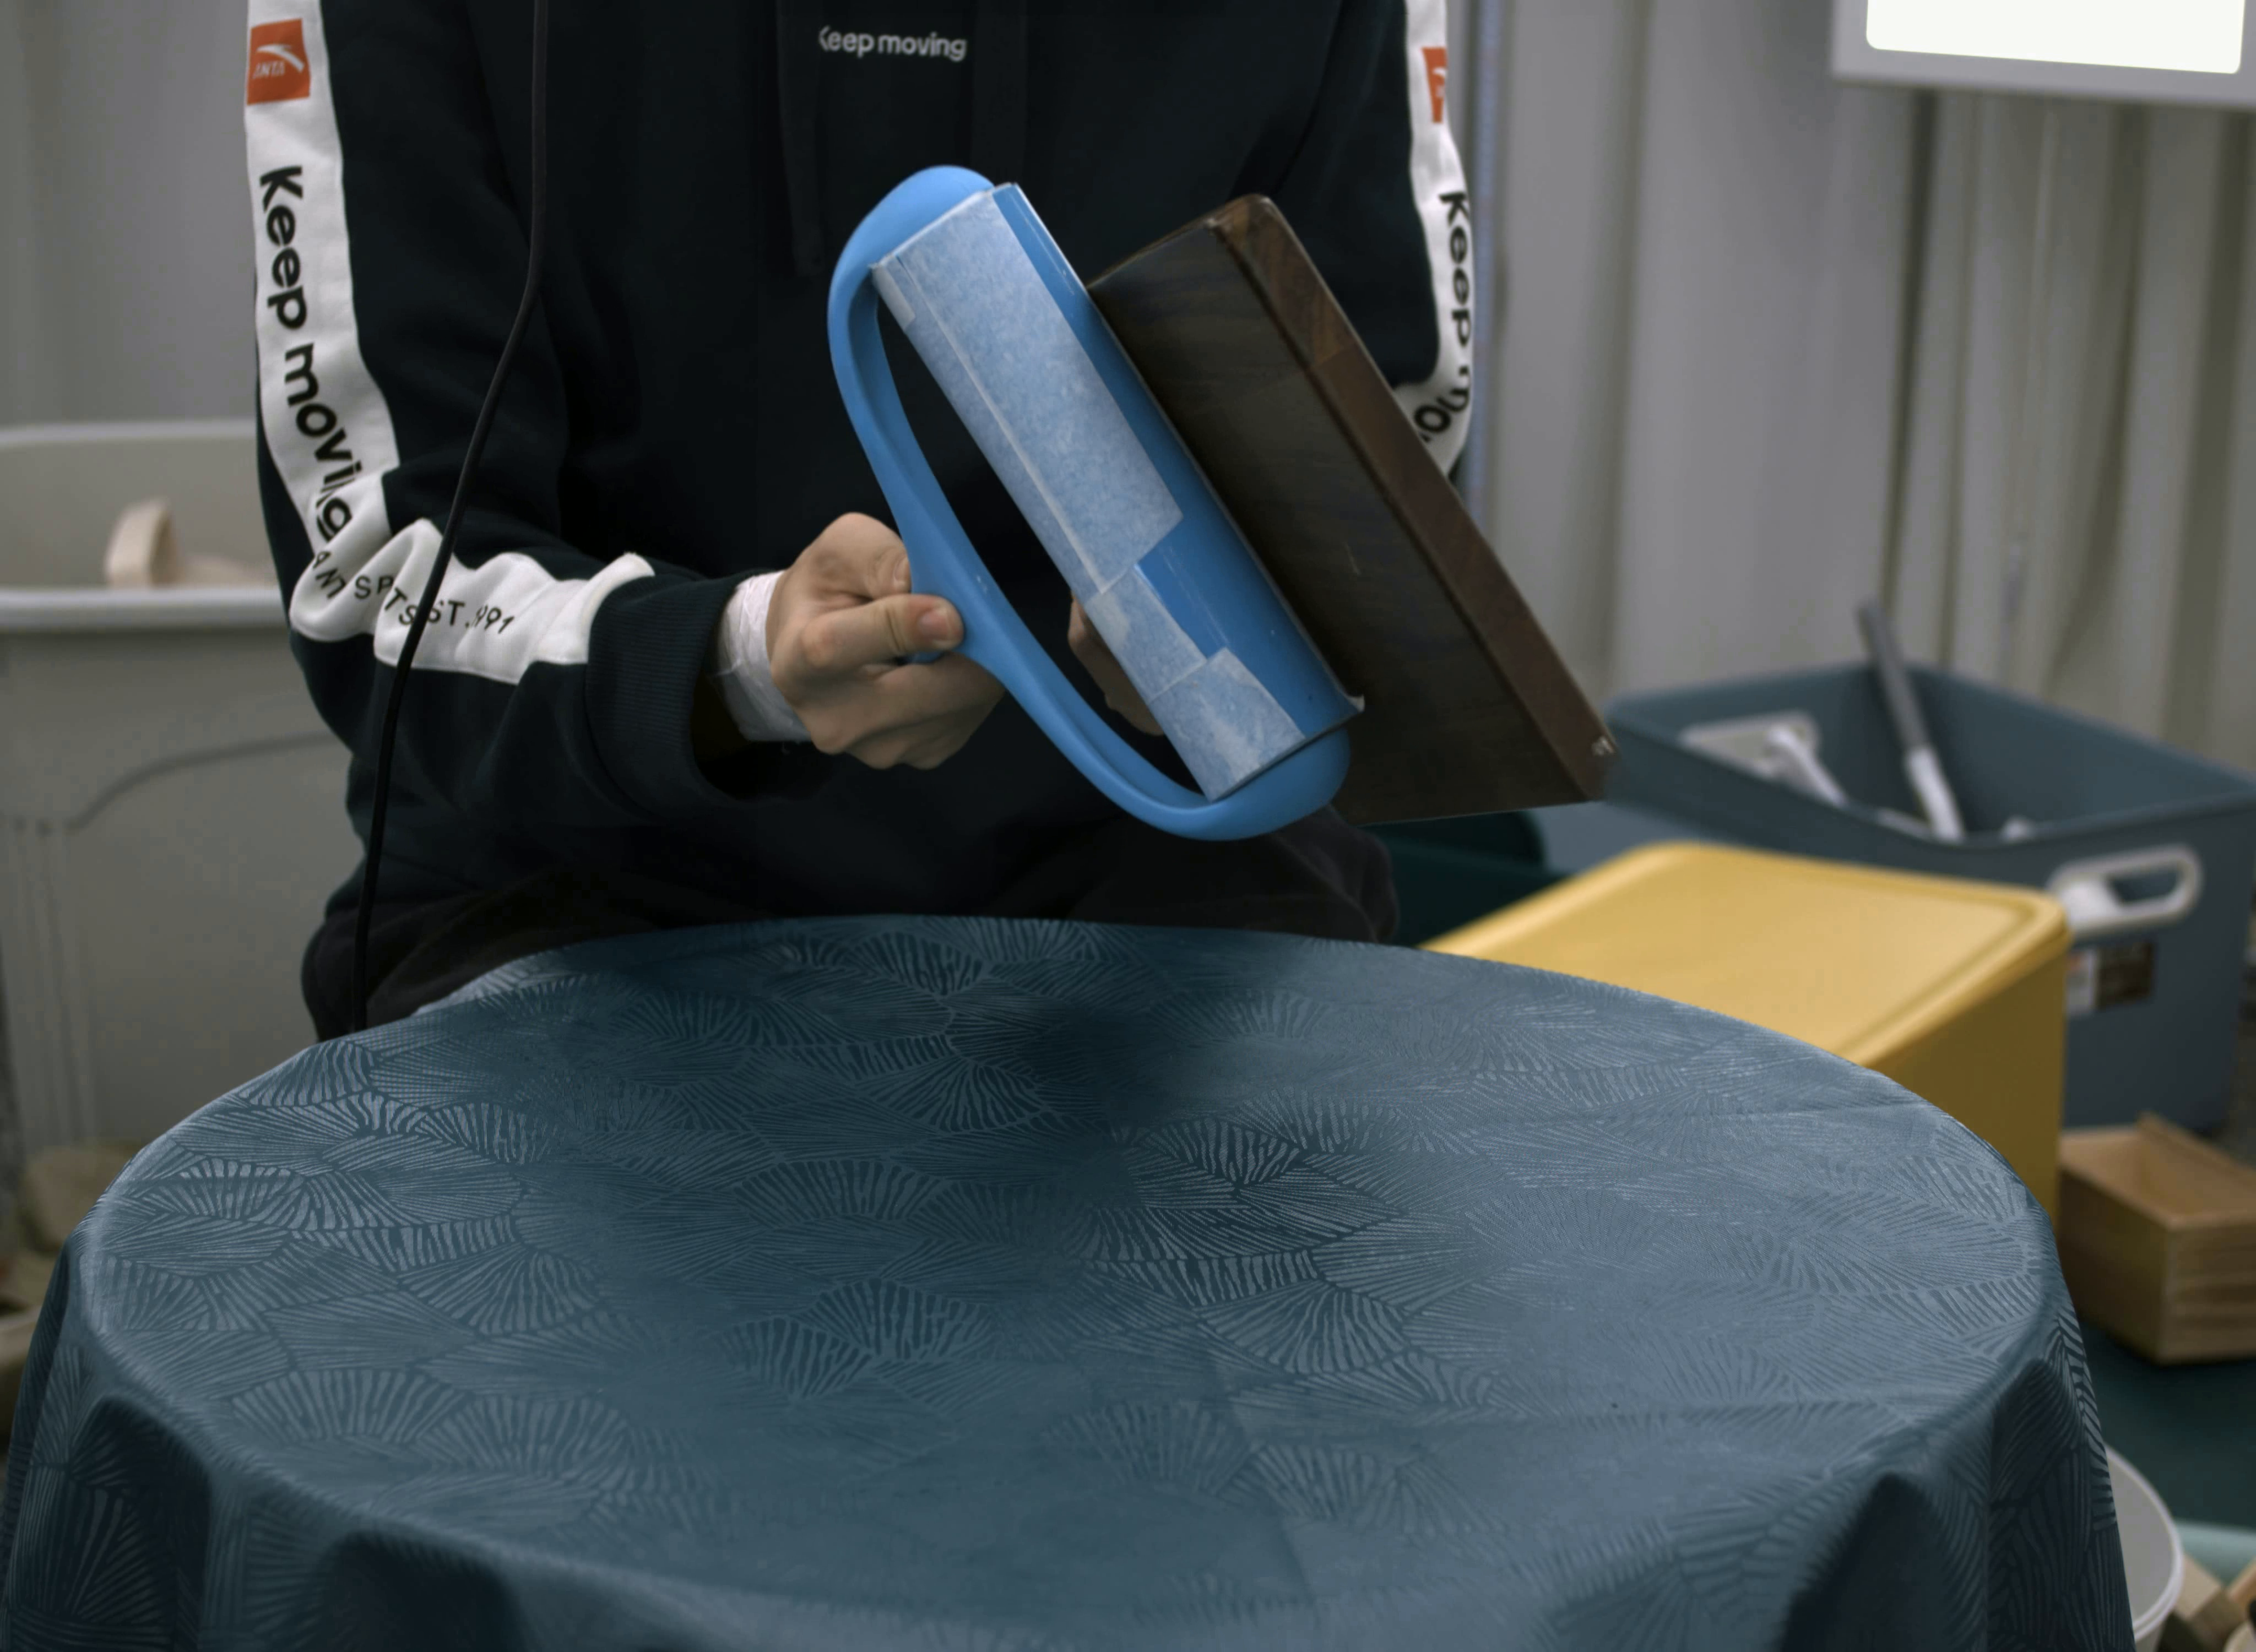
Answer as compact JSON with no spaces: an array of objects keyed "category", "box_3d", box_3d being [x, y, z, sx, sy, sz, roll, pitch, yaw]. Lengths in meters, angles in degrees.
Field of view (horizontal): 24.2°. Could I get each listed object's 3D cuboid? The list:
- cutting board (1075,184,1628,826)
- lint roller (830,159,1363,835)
[{"category":"cutting board","box_3d":[0.044,-0.088,1.624,0.023,0.202,0.350,-34,6,-12]},{"category":"lint roller","box_3d":[-0.034,-0.077,1.638,0.068,0.229,0.180,-34,-2,-41]}]
